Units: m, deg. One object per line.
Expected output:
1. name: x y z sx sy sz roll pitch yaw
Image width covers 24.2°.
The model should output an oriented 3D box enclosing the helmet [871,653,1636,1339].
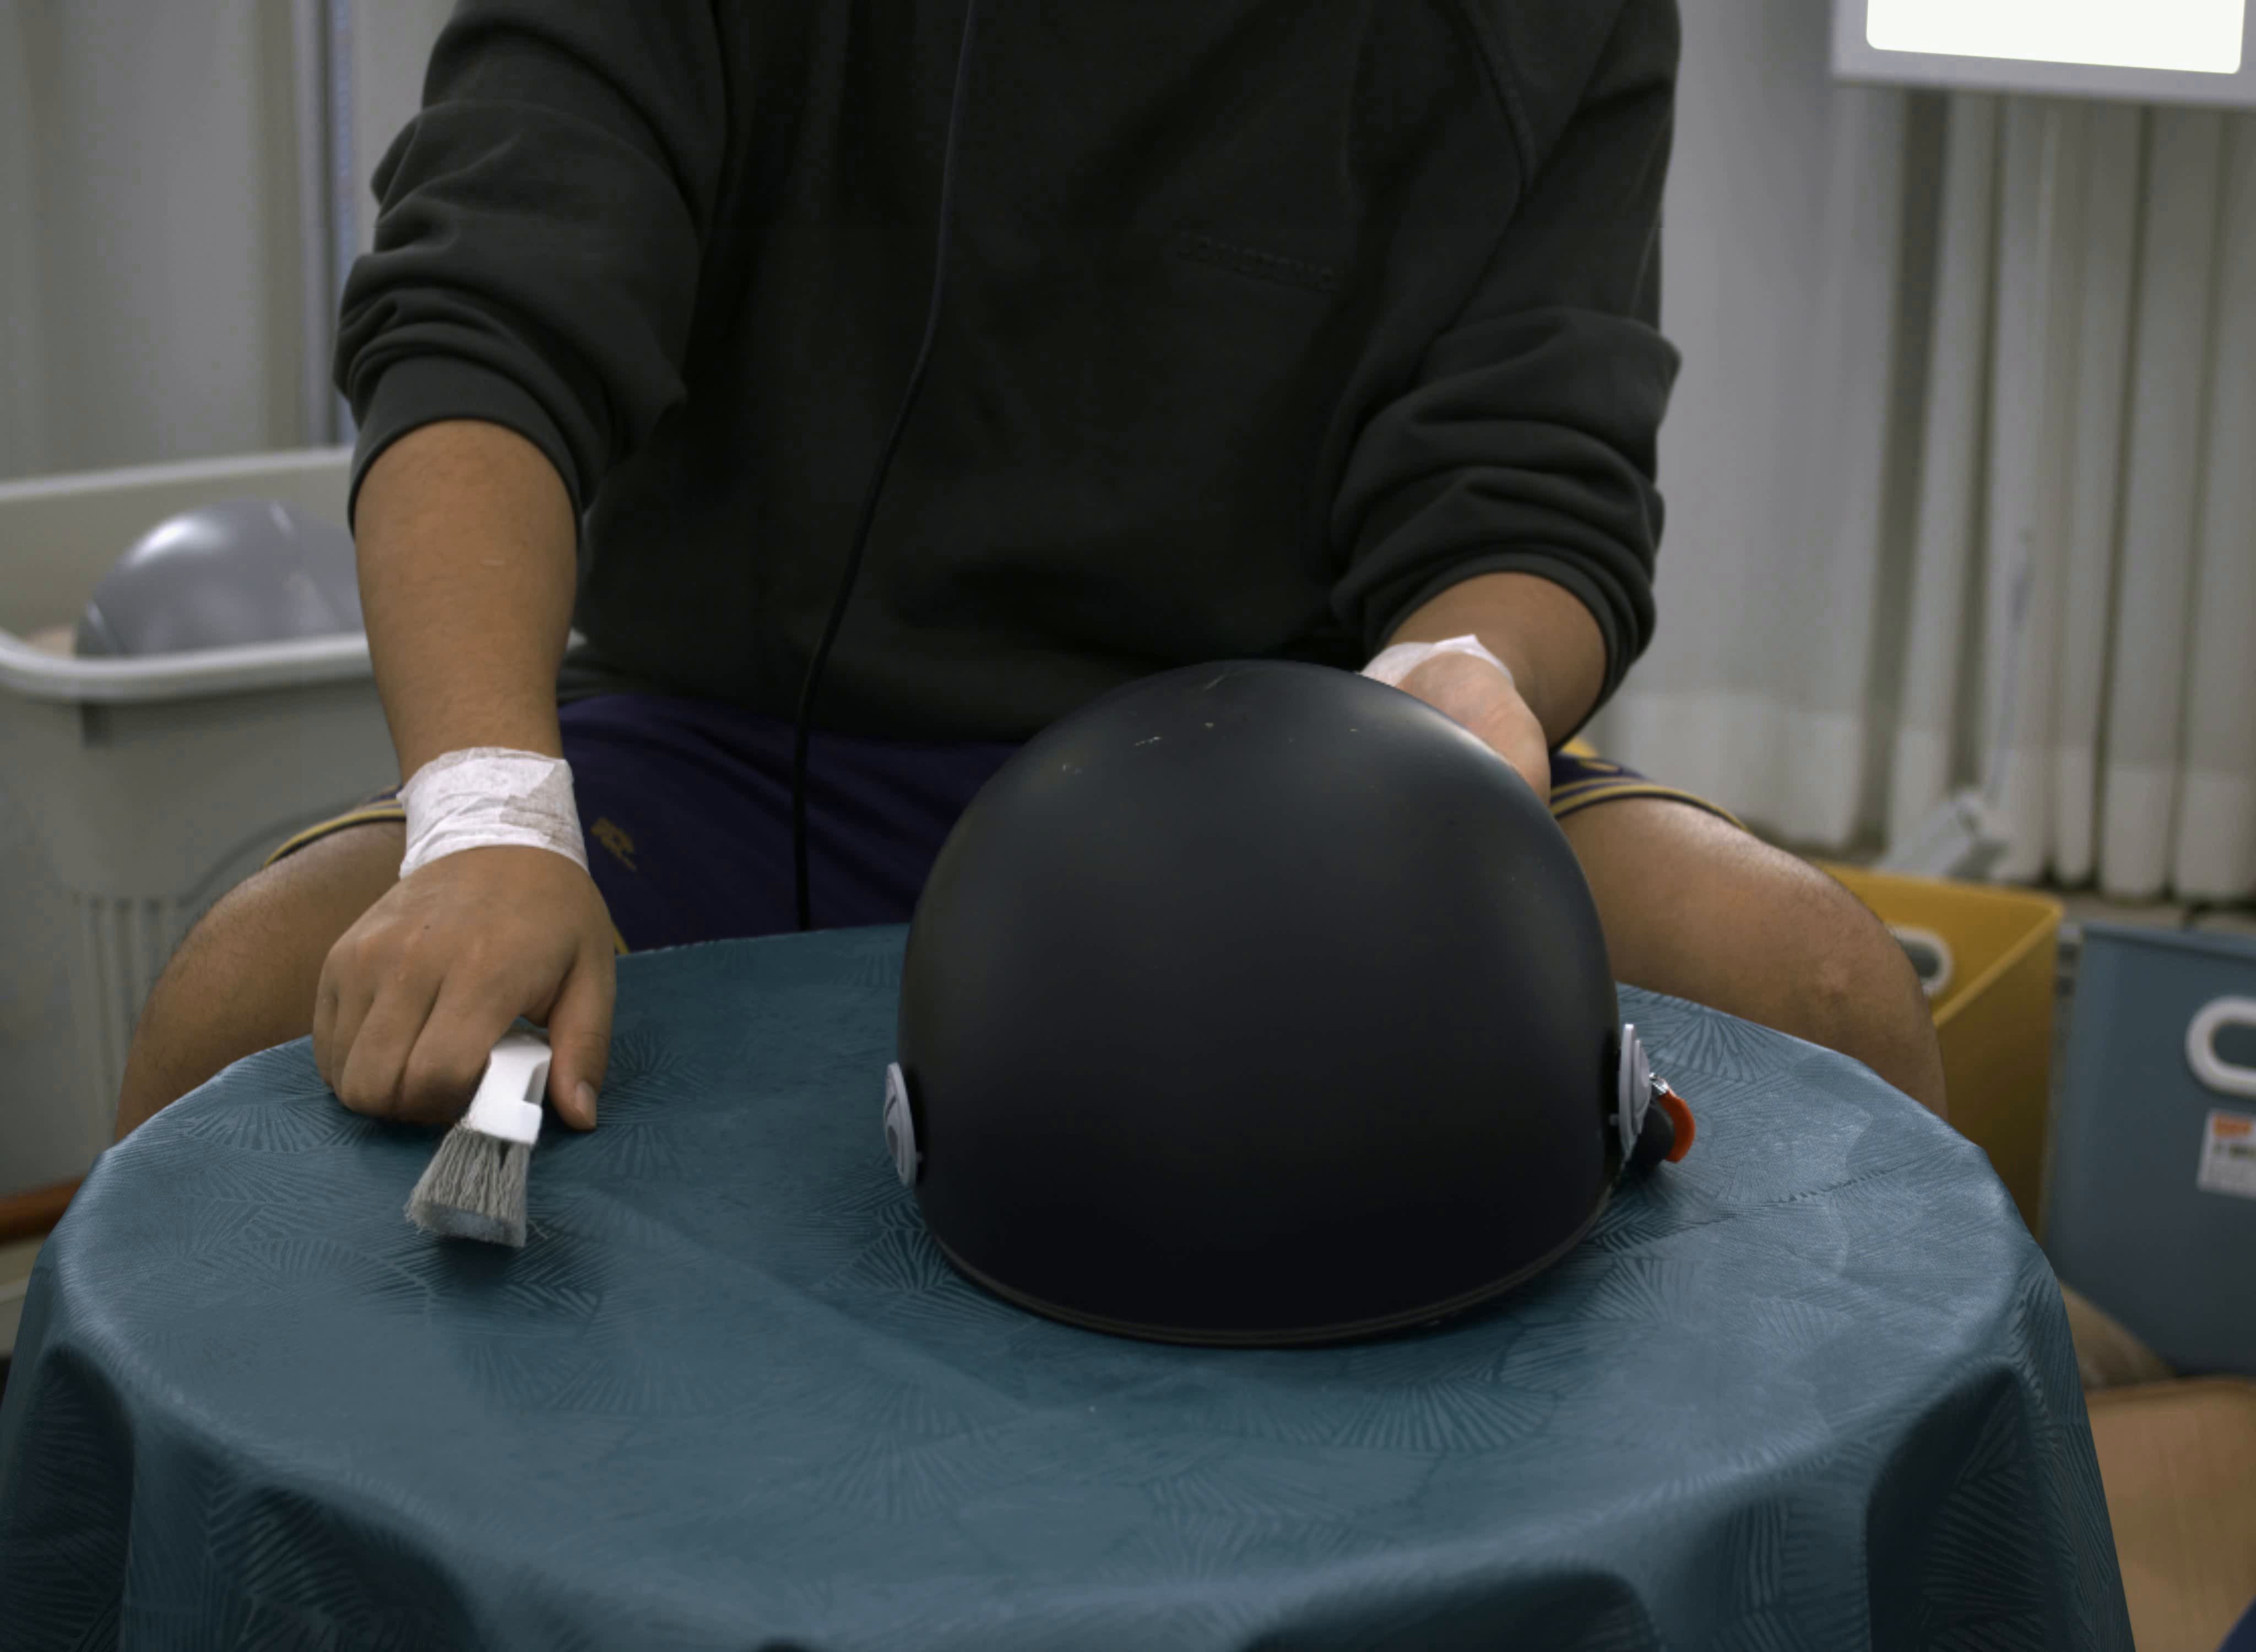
1. helmet: 0.036 0.038 1.596 0.229 0.168 0.271 -3 18 3

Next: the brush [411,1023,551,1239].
1. brush: -0.198 0.094 1.637 0.034 0.050 0.243 12 2 -5
